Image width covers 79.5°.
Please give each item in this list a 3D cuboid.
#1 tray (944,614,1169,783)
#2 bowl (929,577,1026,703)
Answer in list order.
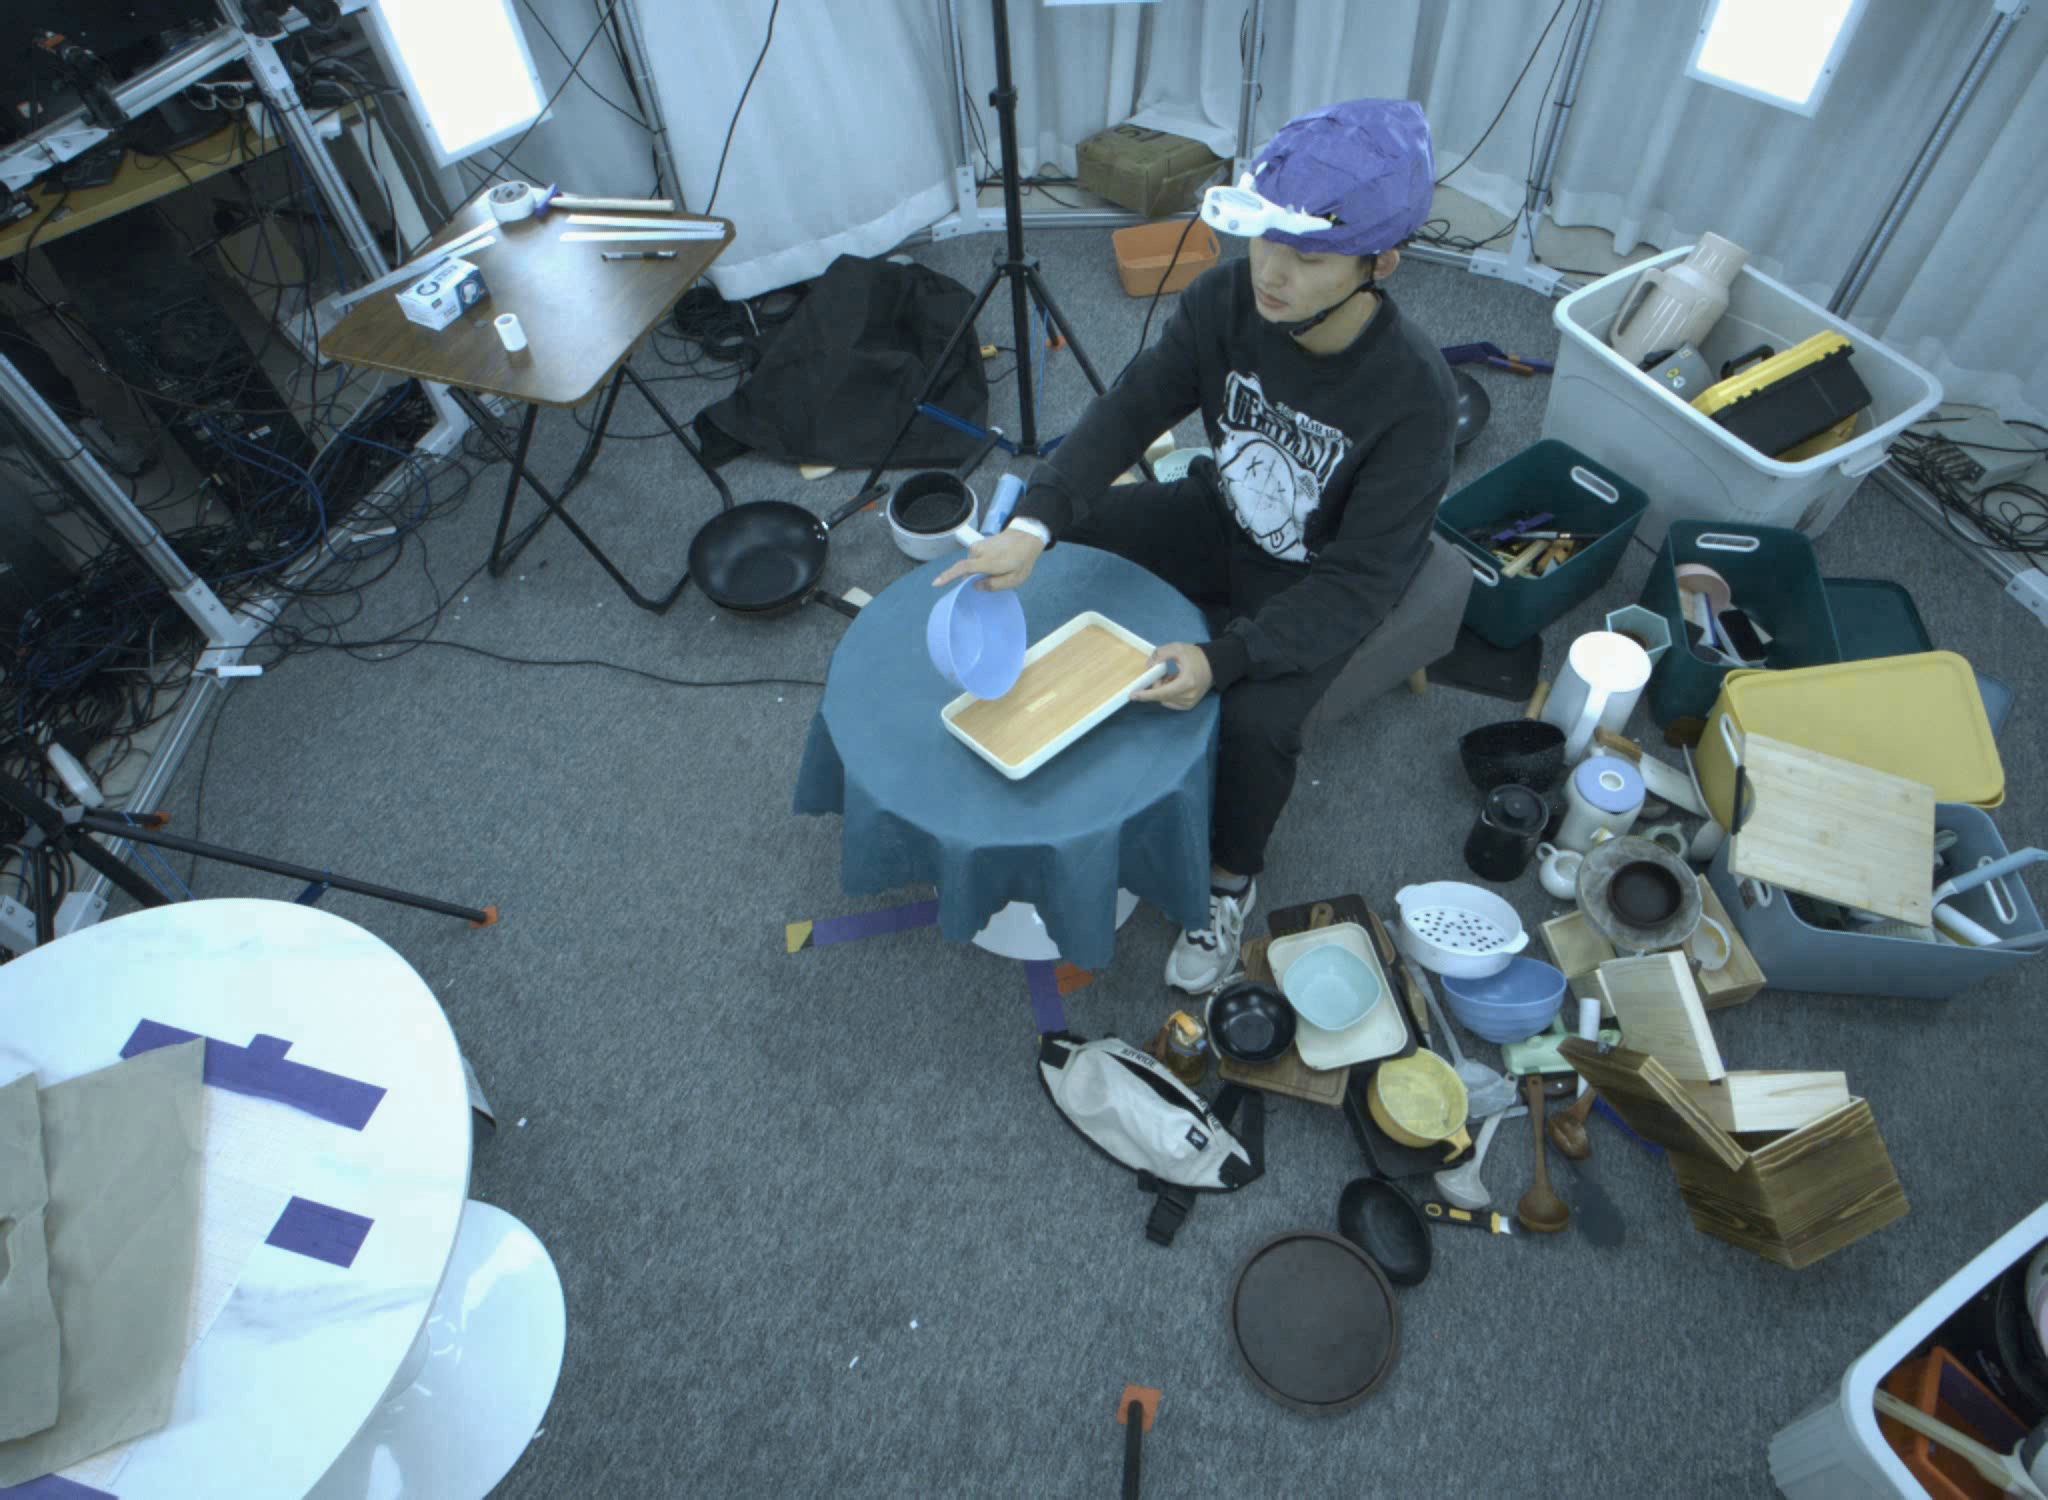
[{"bbox_3d":[0.048,-0.081,1.808,0.302,0.028,0.187,-36,47,-19],"label":"tray"},{"bbox_3d":[-0.074,-0.154,1.727,0.069,0.180,0.176,2,51,35],"label":"bowl"}]
